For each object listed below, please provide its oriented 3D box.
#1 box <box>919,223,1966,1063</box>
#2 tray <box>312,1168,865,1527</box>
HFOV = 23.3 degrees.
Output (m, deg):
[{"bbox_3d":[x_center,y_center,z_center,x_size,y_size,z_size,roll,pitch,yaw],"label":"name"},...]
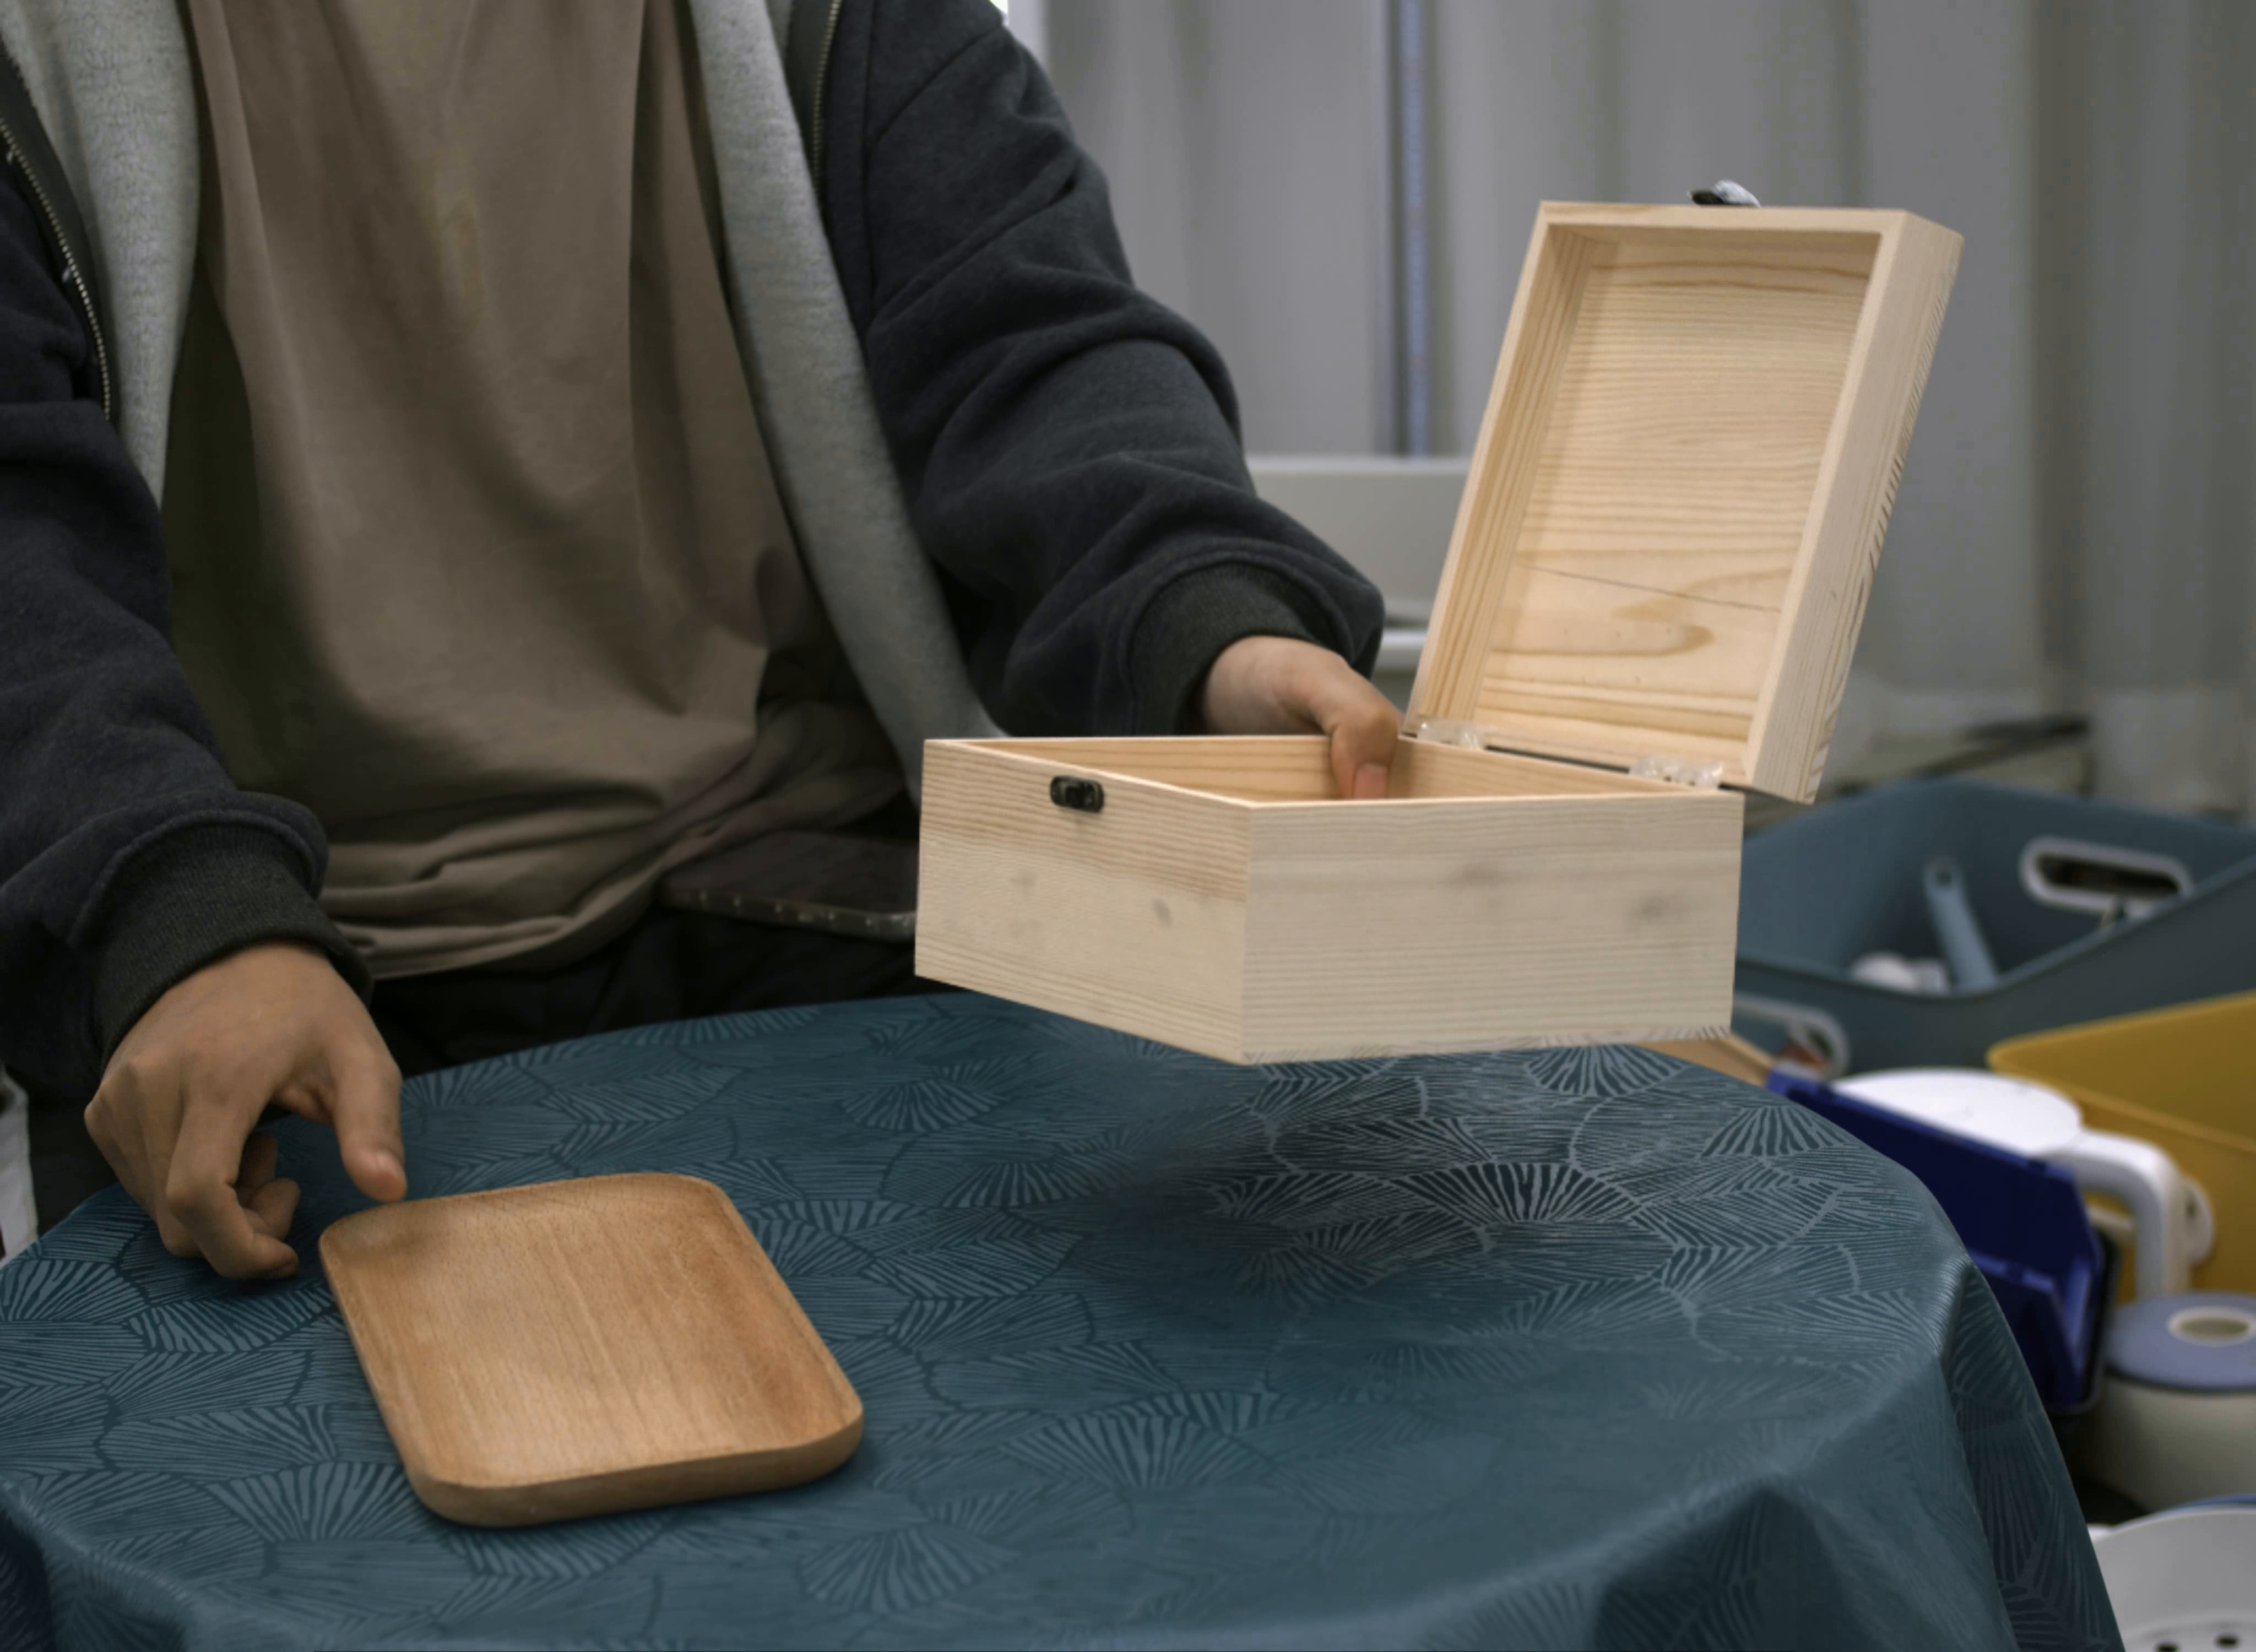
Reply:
[{"bbox_3d":[0.093,-0.065,1.681,0.263,0.254,0.182,1,3,-34],"label":"box"},{"bbox_3d":[-0.160,0.148,1.587,0.130,0.023,0.252,-4,14,-14],"label":"tray"}]
